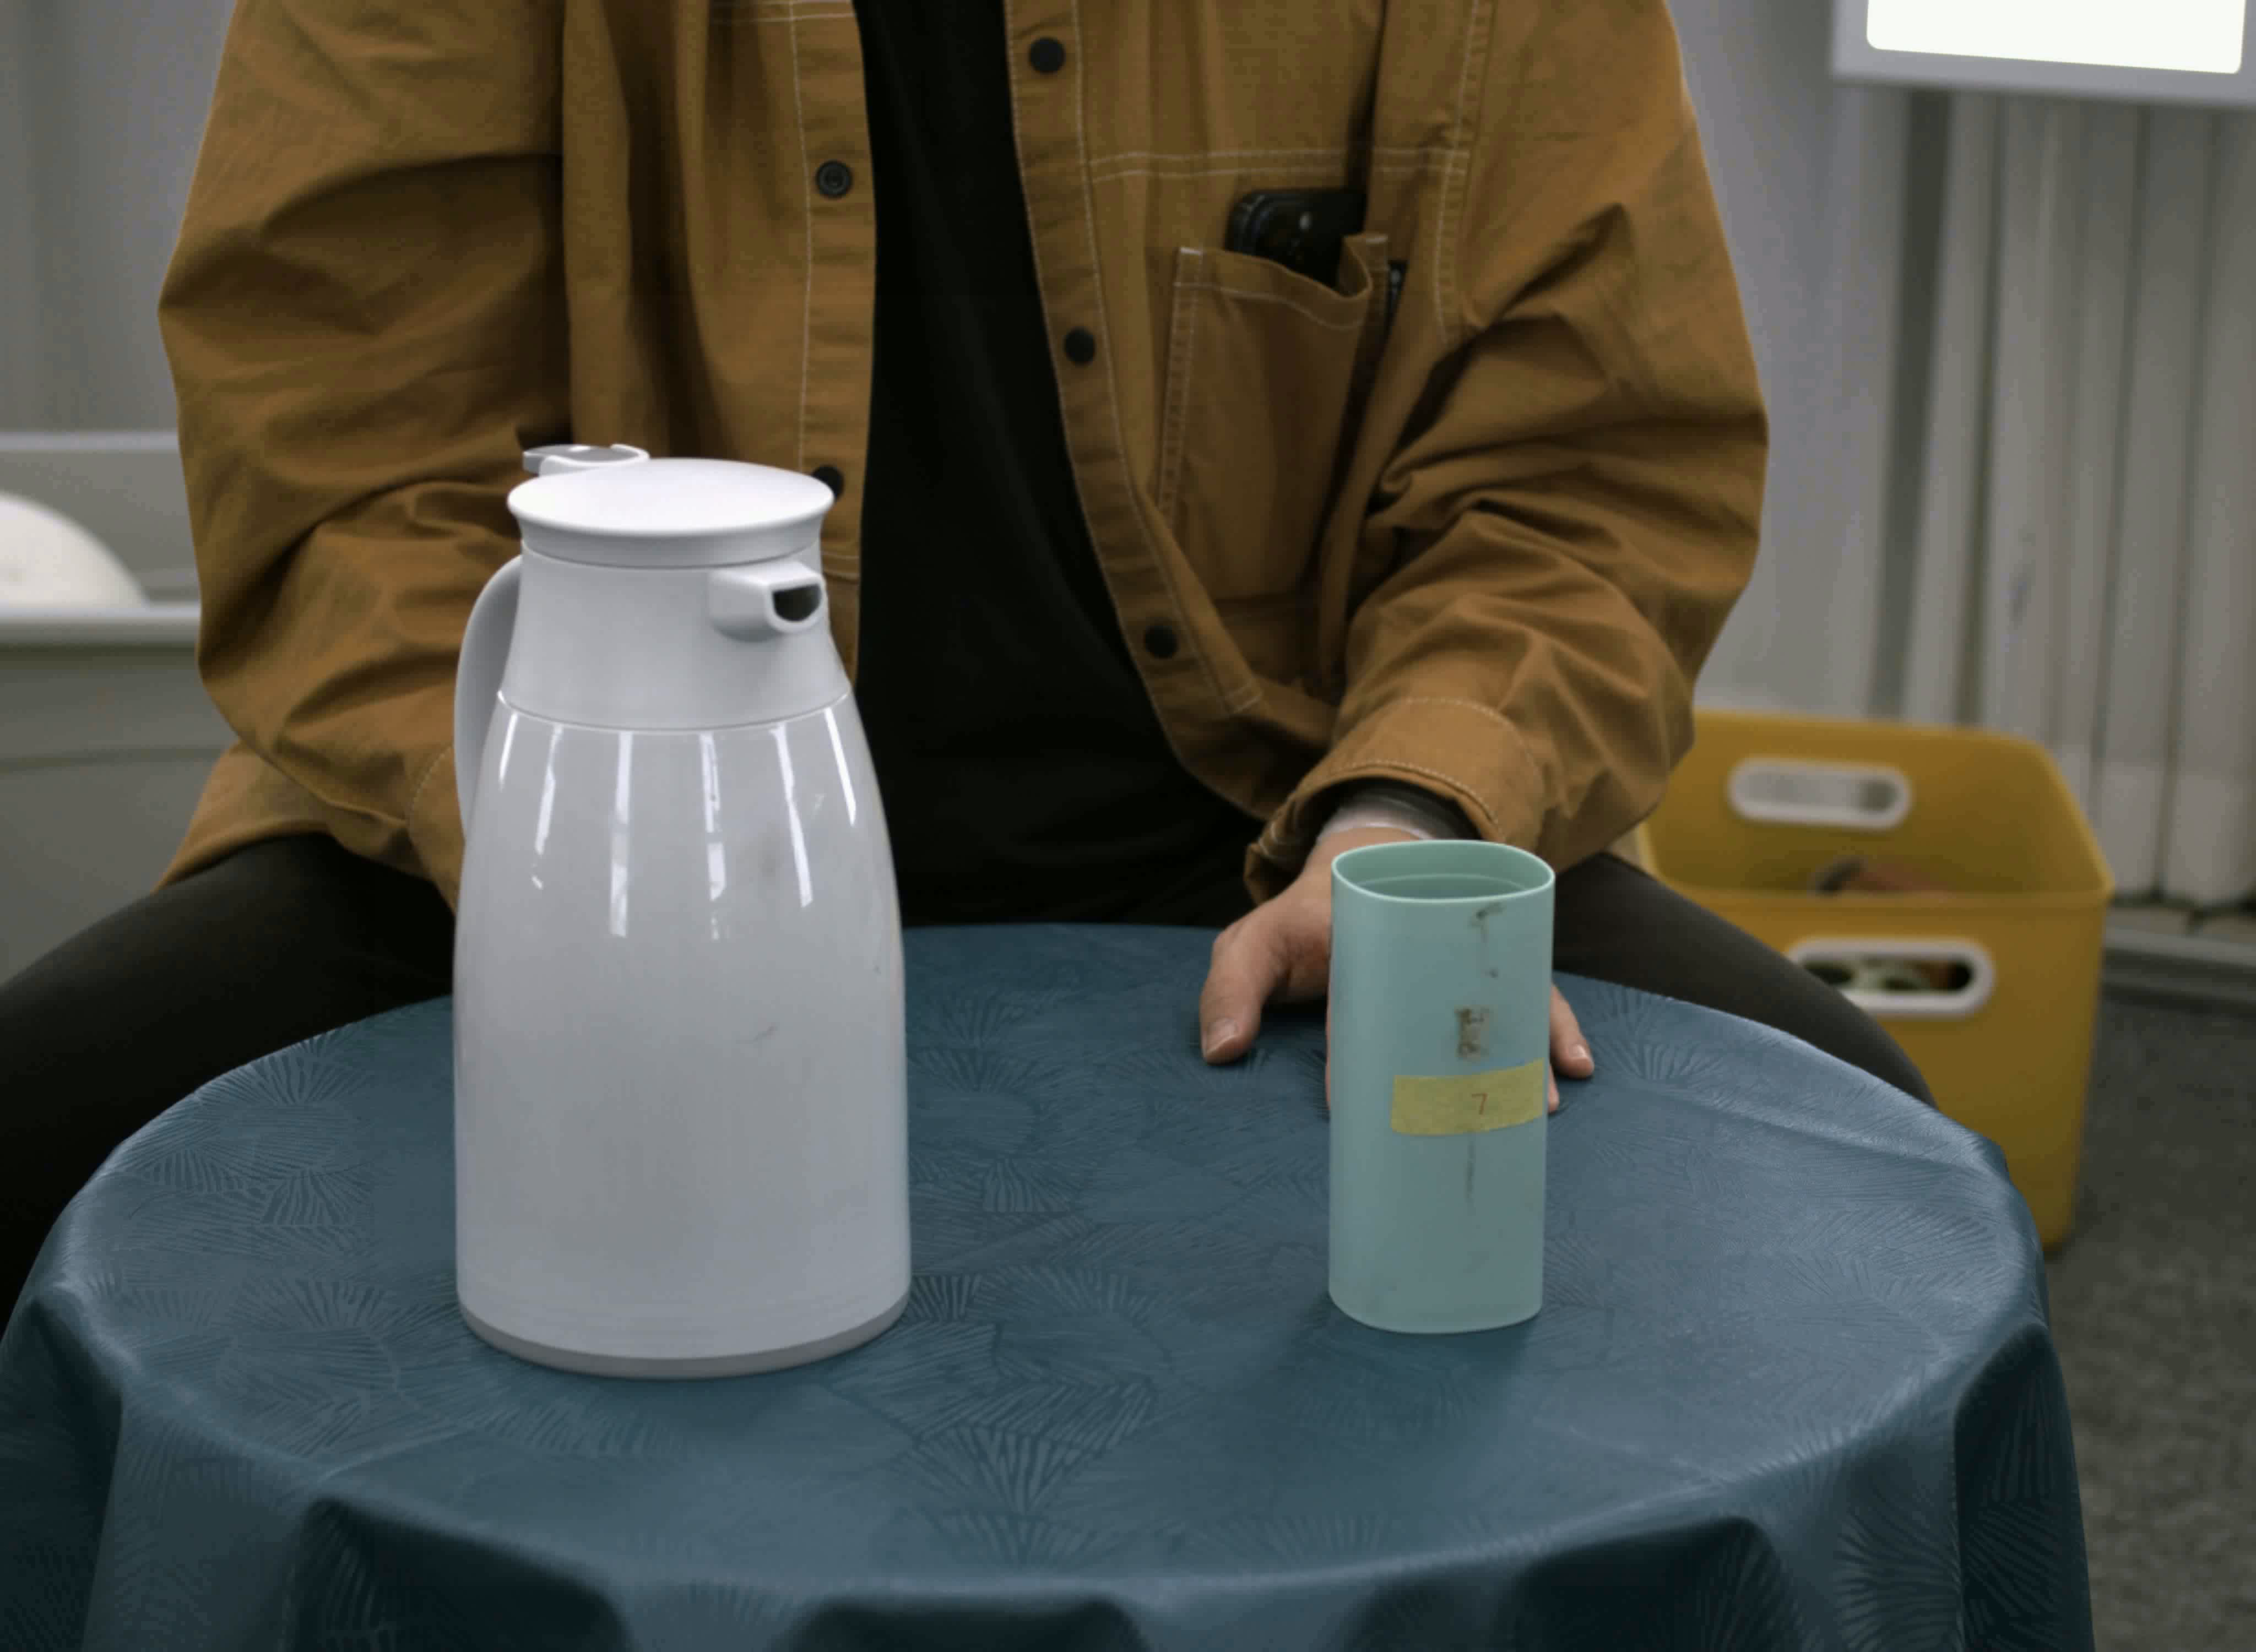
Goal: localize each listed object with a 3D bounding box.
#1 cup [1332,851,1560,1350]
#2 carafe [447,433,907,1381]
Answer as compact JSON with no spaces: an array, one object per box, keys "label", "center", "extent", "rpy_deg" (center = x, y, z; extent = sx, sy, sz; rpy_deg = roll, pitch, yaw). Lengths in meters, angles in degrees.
[{"label":"cup","center":[0.090,0.078,1.517],"extent":[0.066,0.133,0.066],"rpy_deg":[1,16,0]},{"label":"carafe","center":[-0.142,0.015,1.506],"extent":[0.133,0.250,0.165],"rpy_deg":[-13,20,-38]}]
